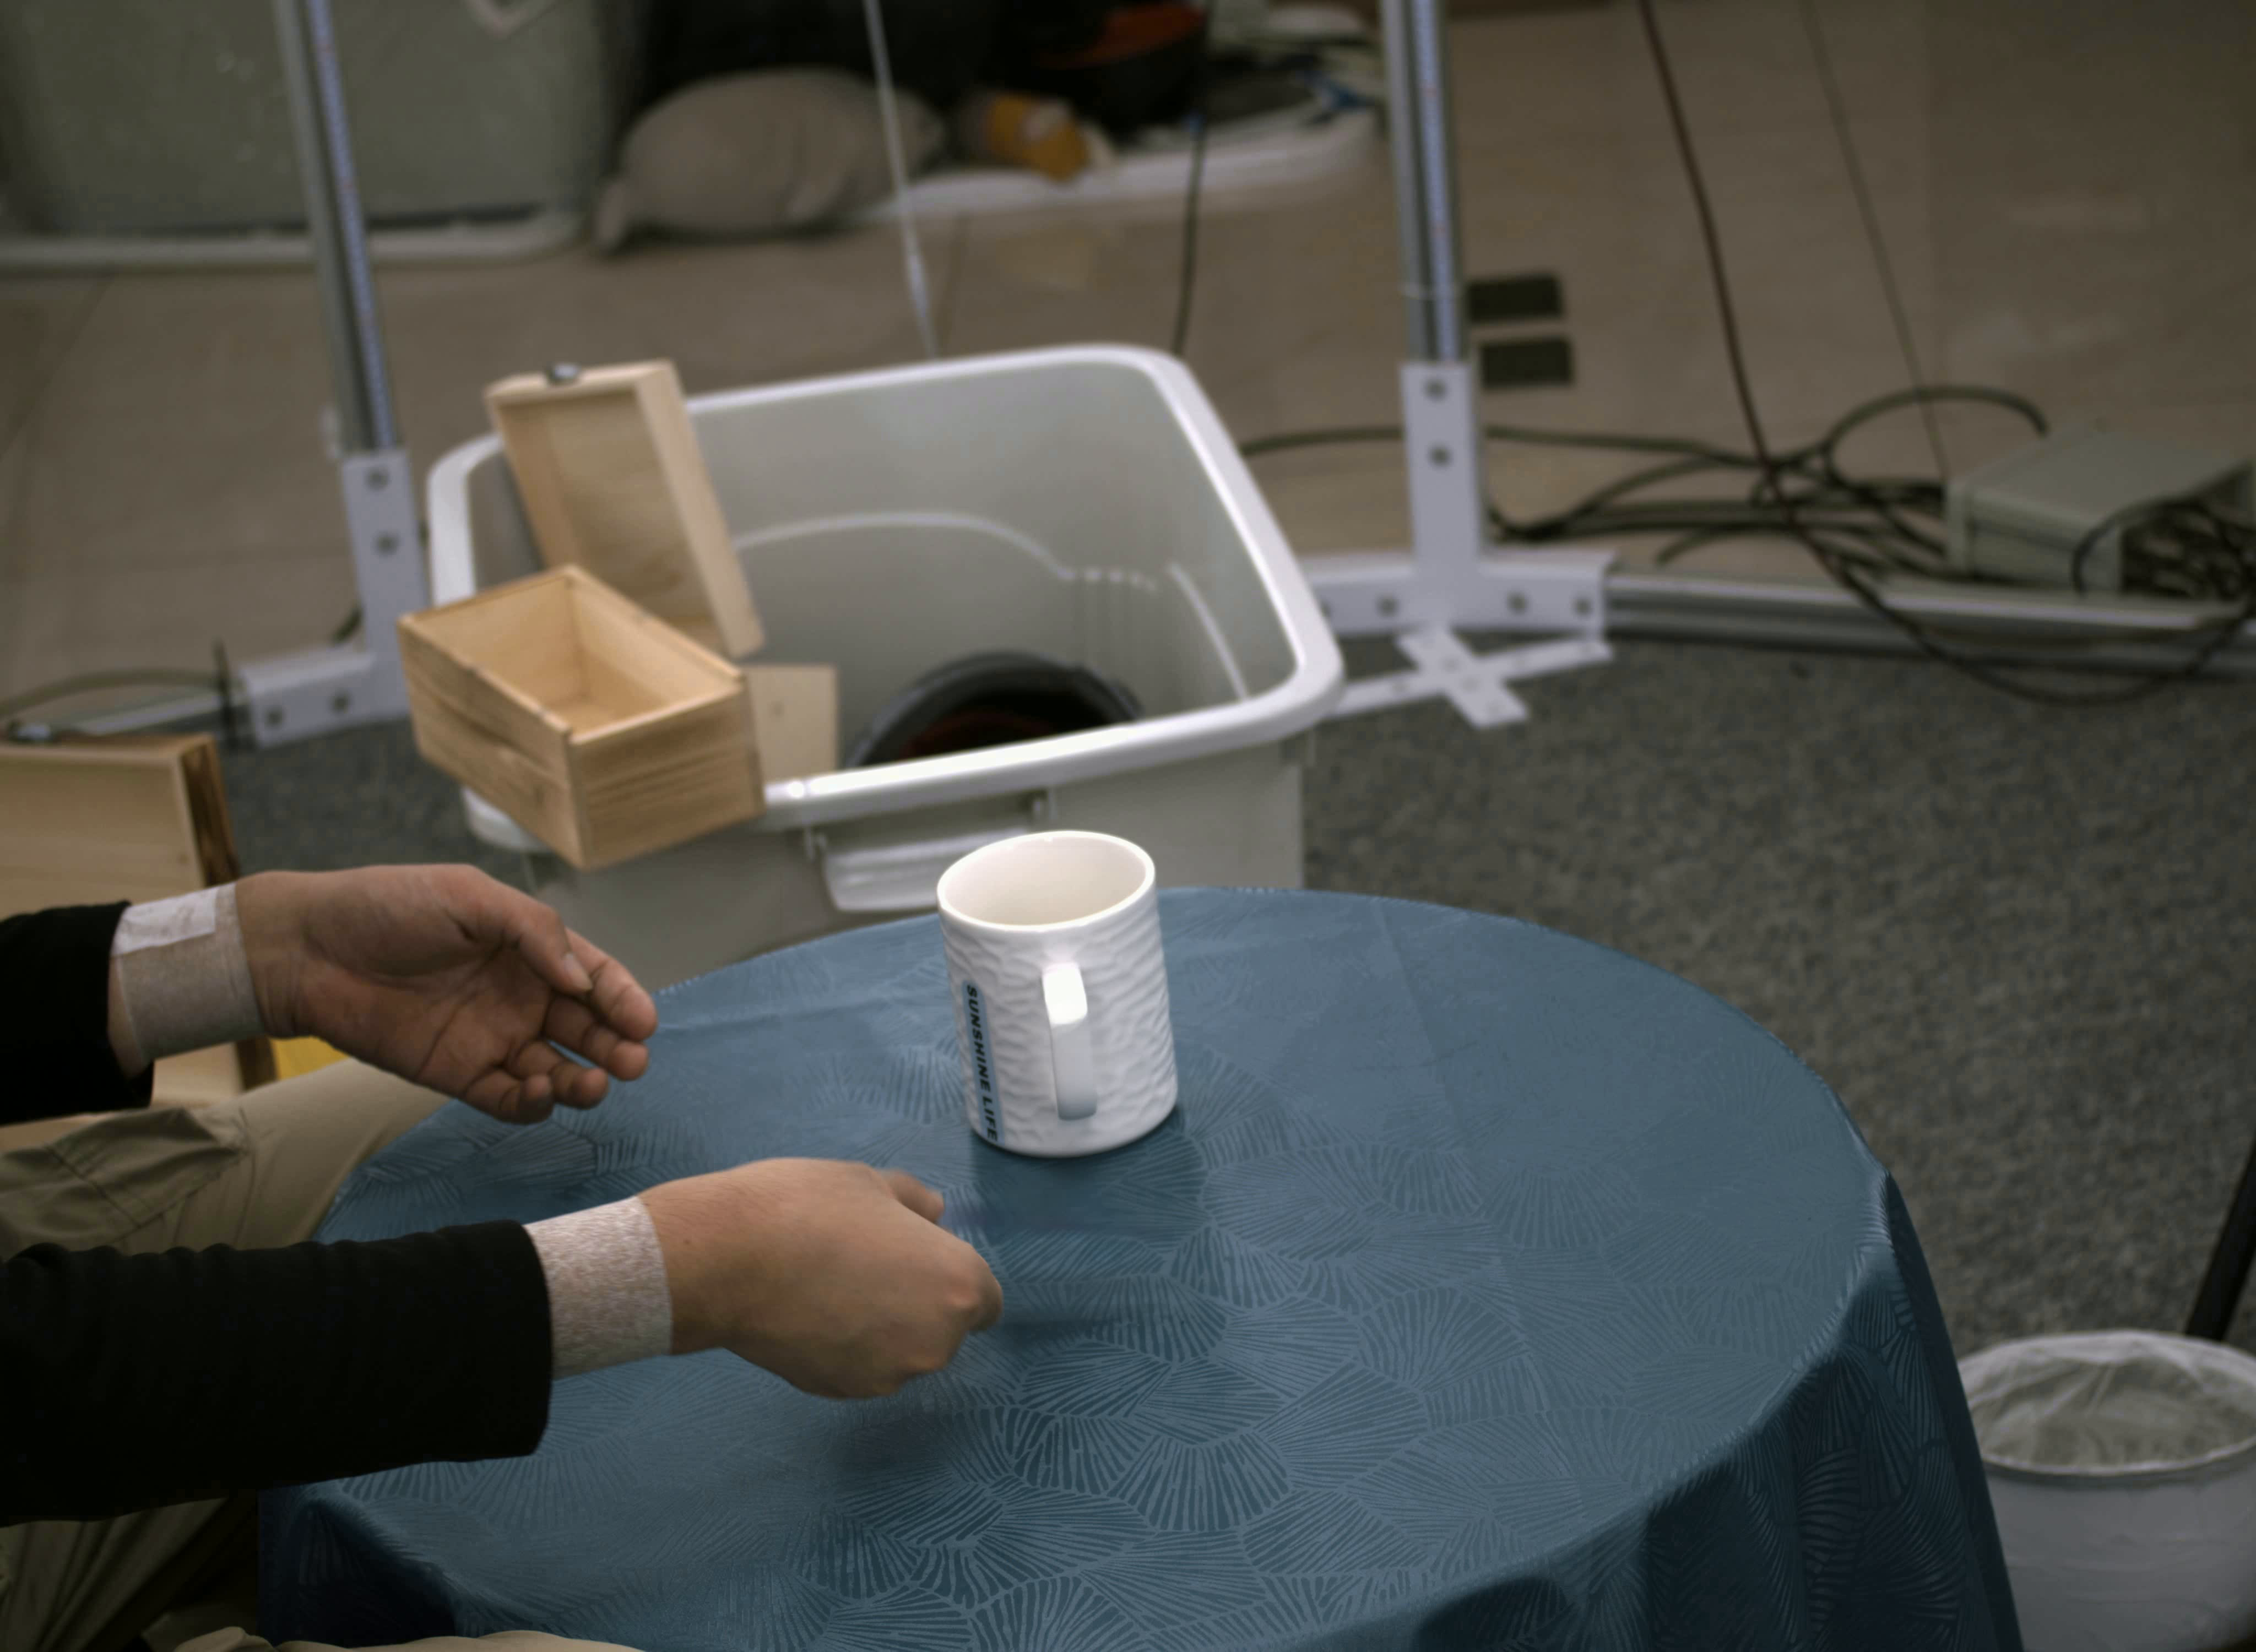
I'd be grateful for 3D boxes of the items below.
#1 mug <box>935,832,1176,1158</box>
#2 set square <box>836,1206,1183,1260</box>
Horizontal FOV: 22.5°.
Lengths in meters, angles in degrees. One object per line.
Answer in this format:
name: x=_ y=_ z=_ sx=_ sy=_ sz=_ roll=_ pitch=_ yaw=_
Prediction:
mug: x=-0.025 y=0.072 z=2.175 sx=0.085 sy=0.103 sz=0.116 roll=-8 pitch=25 yaw=-3
set square: x=-0.047 y=0.147 z=2.034 sx=0.131 sy=0.006 sz=0.061 roll=8 pitch=3 yaw=10
